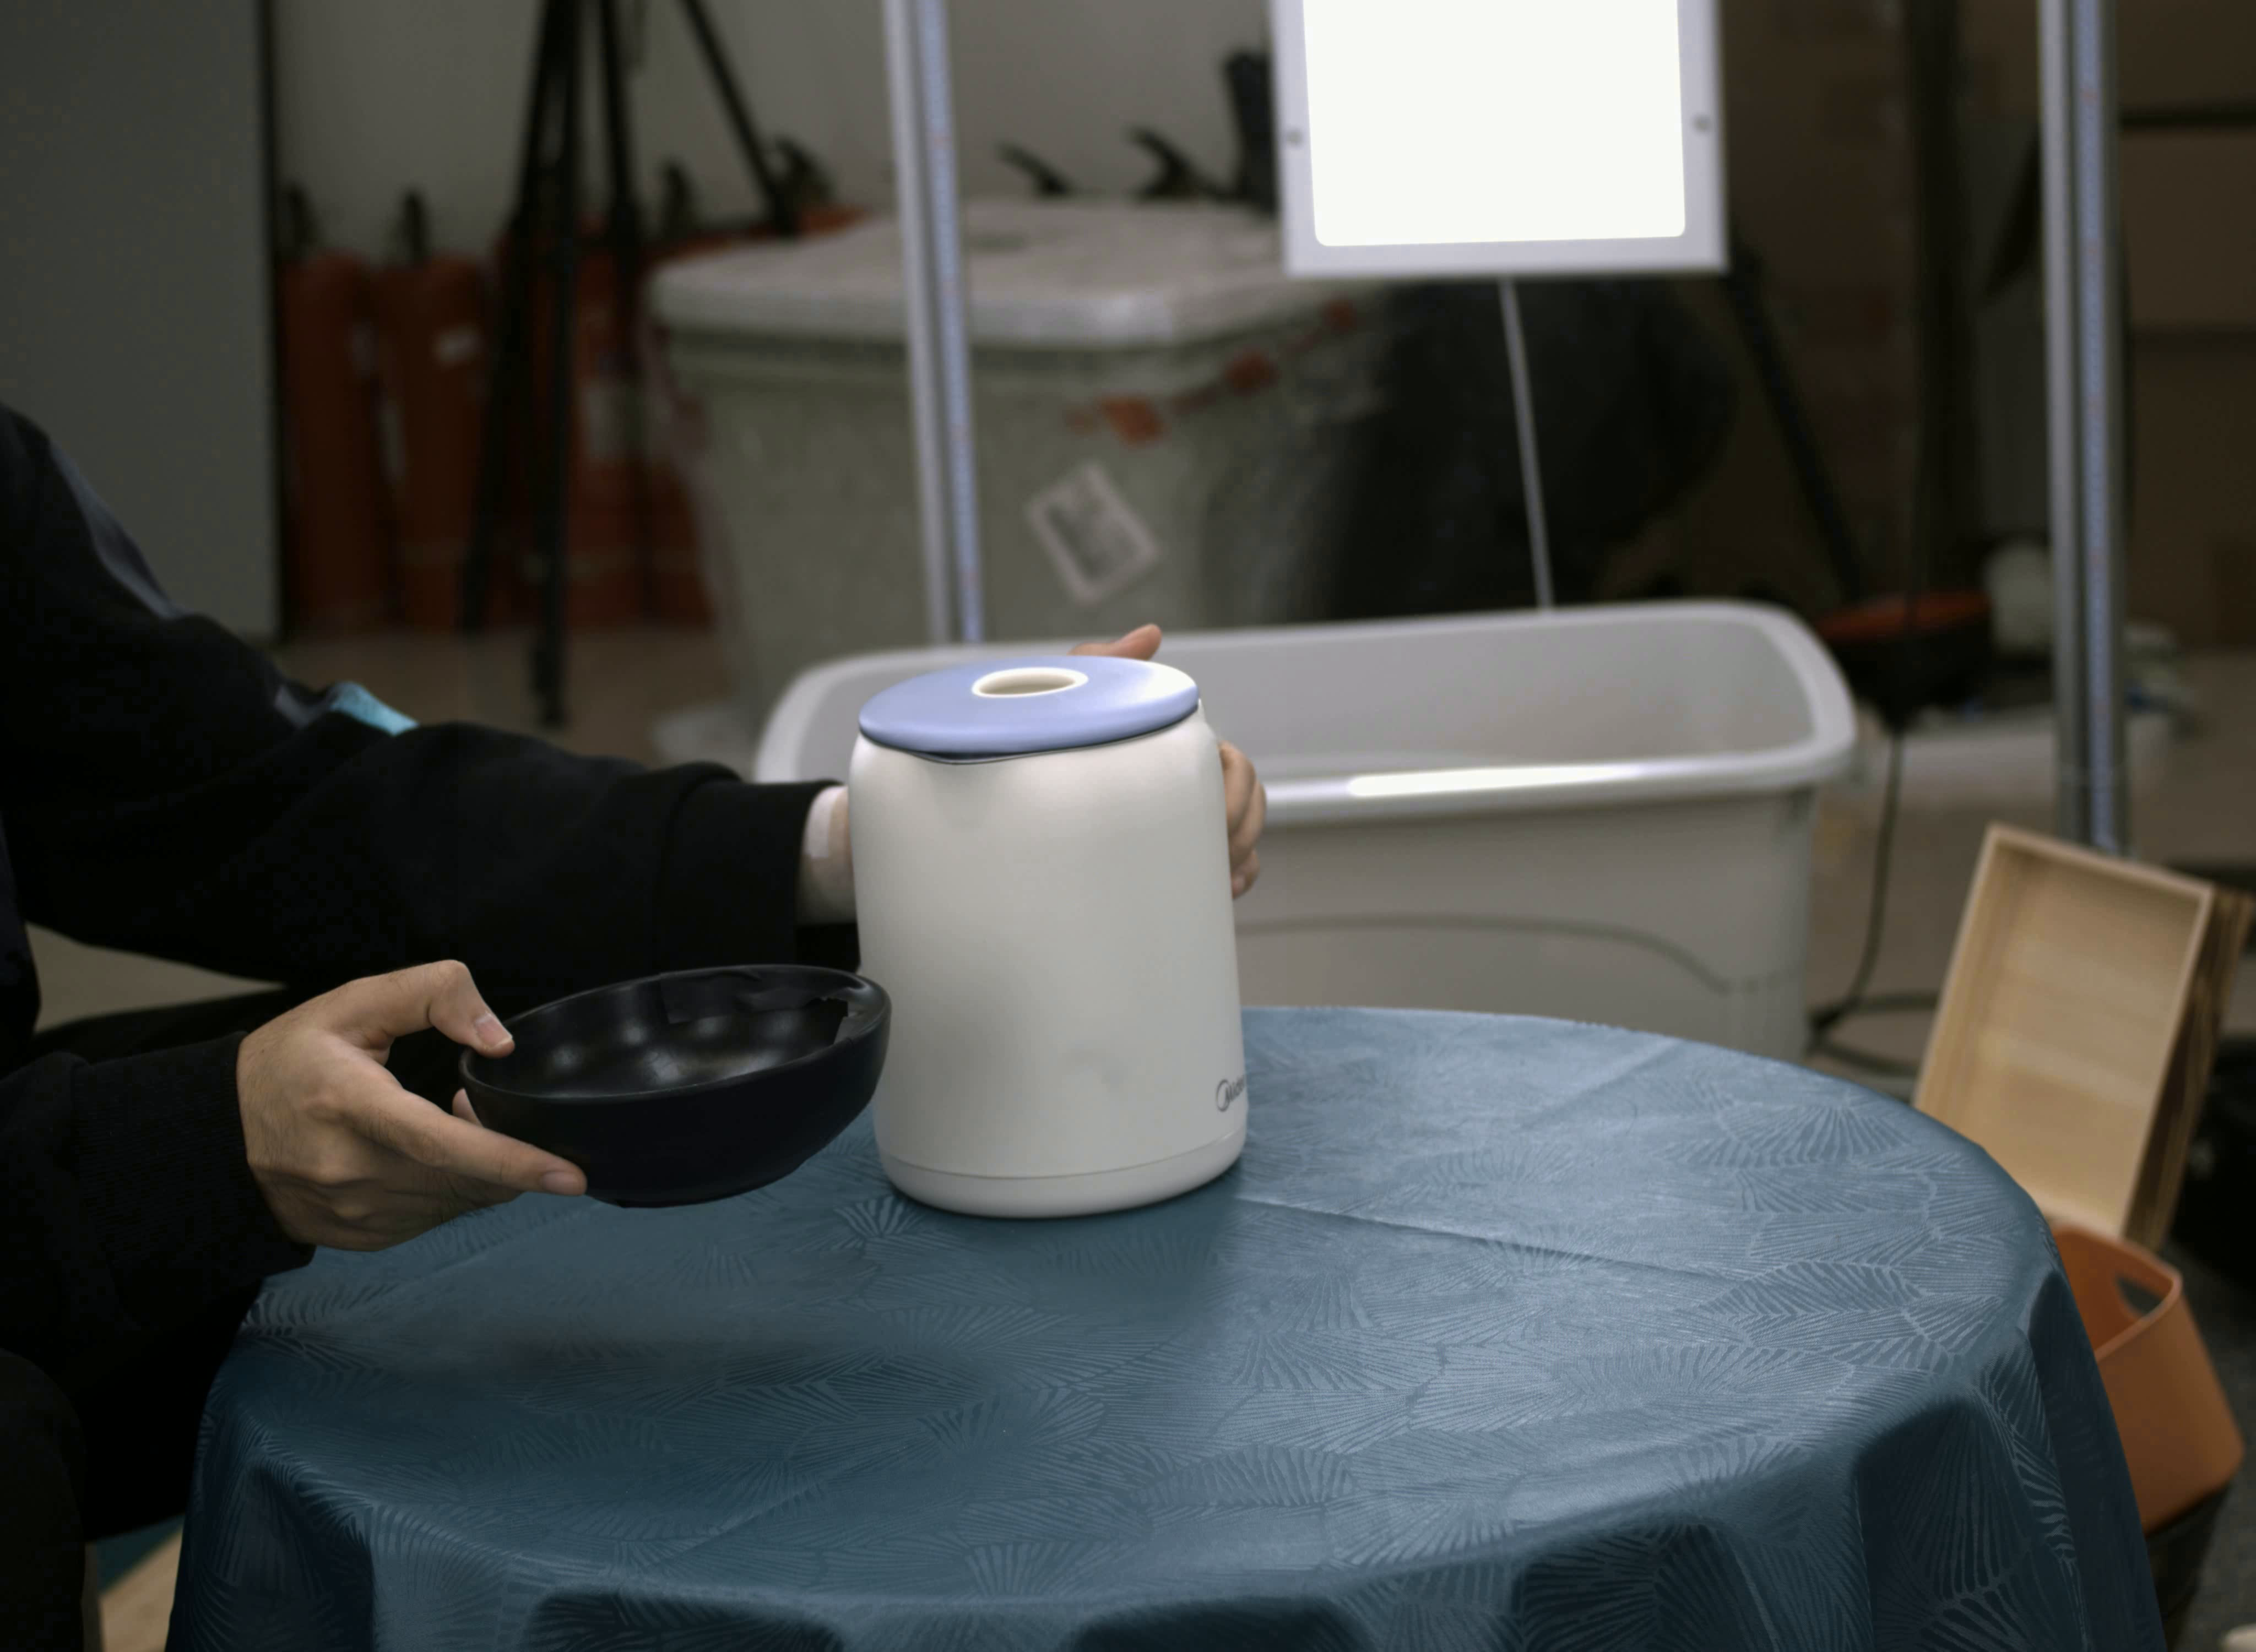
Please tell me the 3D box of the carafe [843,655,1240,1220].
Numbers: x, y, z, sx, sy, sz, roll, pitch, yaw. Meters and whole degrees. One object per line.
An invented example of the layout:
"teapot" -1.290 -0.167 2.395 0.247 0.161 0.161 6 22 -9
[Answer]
"carafe" -0.022 0.032 1.930 0.134 0.183 0.188 2 13 20

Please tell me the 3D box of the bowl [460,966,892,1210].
"bowl" -0.140 0.087 1.751 0.140 0.050 0.140 -10 13 1
